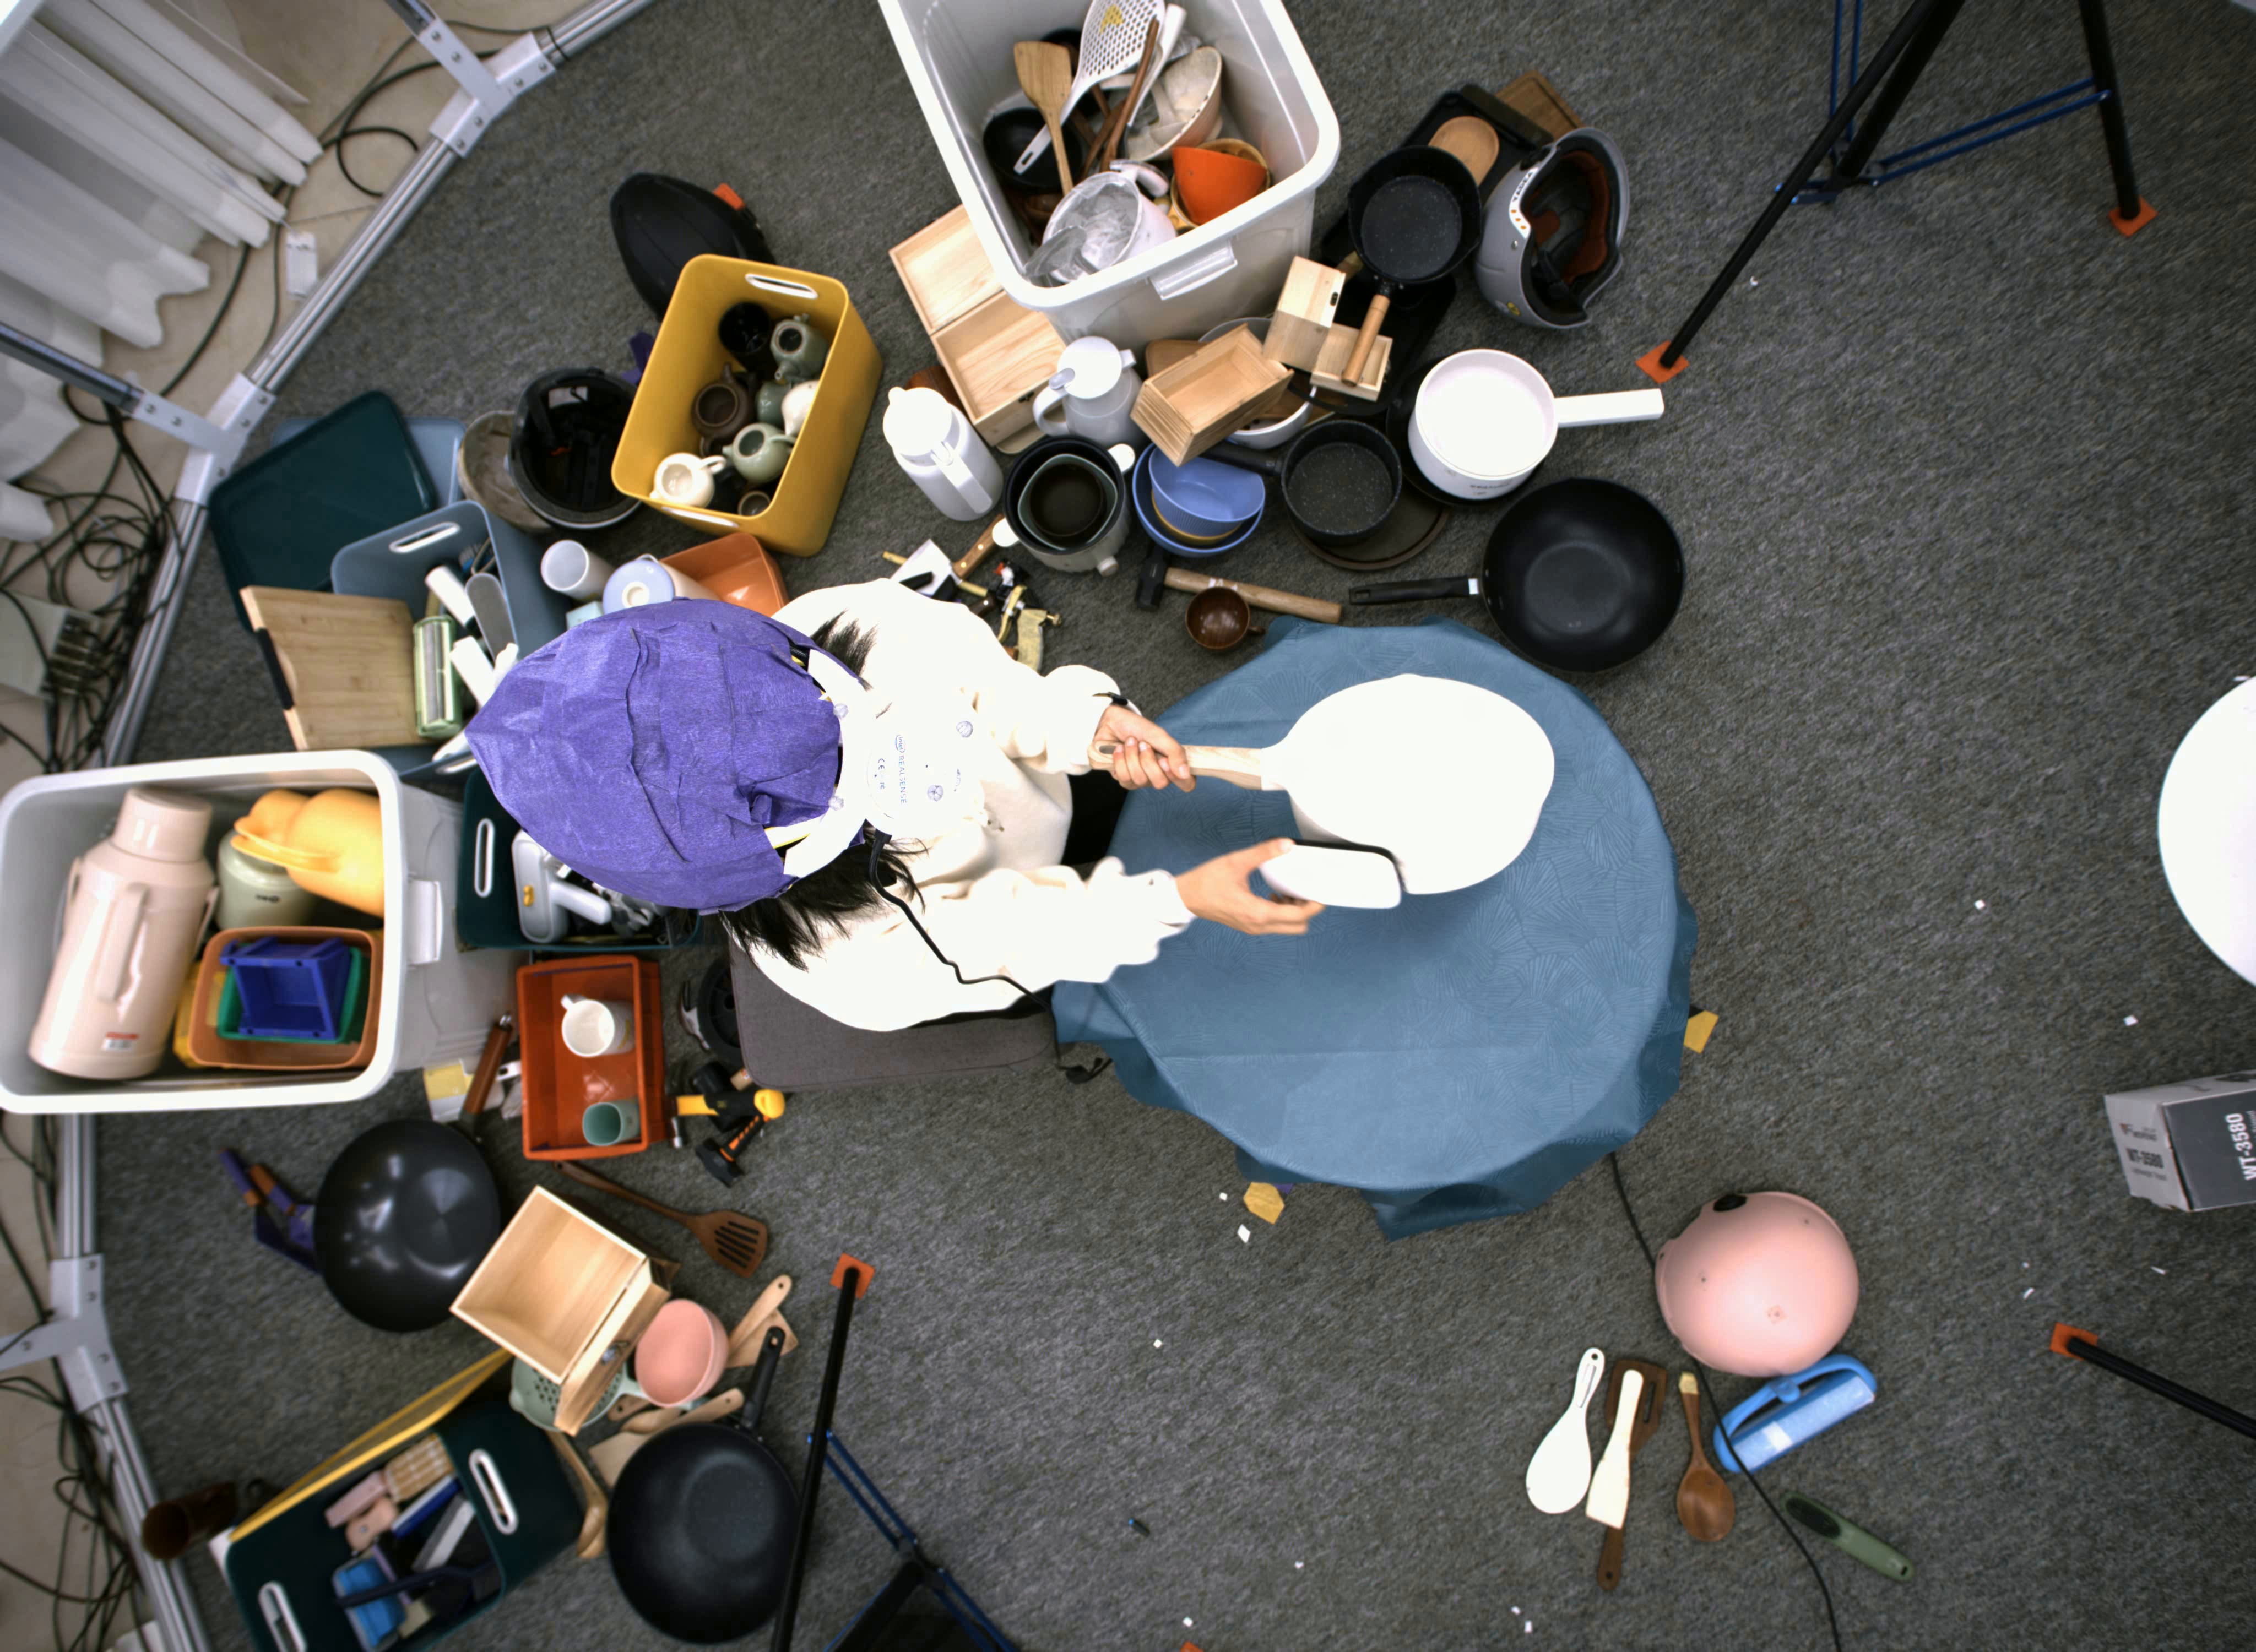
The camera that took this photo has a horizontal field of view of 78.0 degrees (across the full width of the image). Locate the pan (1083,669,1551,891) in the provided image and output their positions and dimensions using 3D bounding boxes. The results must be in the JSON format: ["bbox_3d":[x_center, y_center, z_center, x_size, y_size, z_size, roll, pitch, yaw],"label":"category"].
[{"bbox_3d":[0.179,-0.043,1.323,0.436,0.104,0.256,-1,46,8],"label":"pan"}]

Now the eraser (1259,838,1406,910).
[{"bbox_3d":[0.183,0.042,1.243,0.132,0.064,0.034,4,51,32],"label":"eraser"}]
